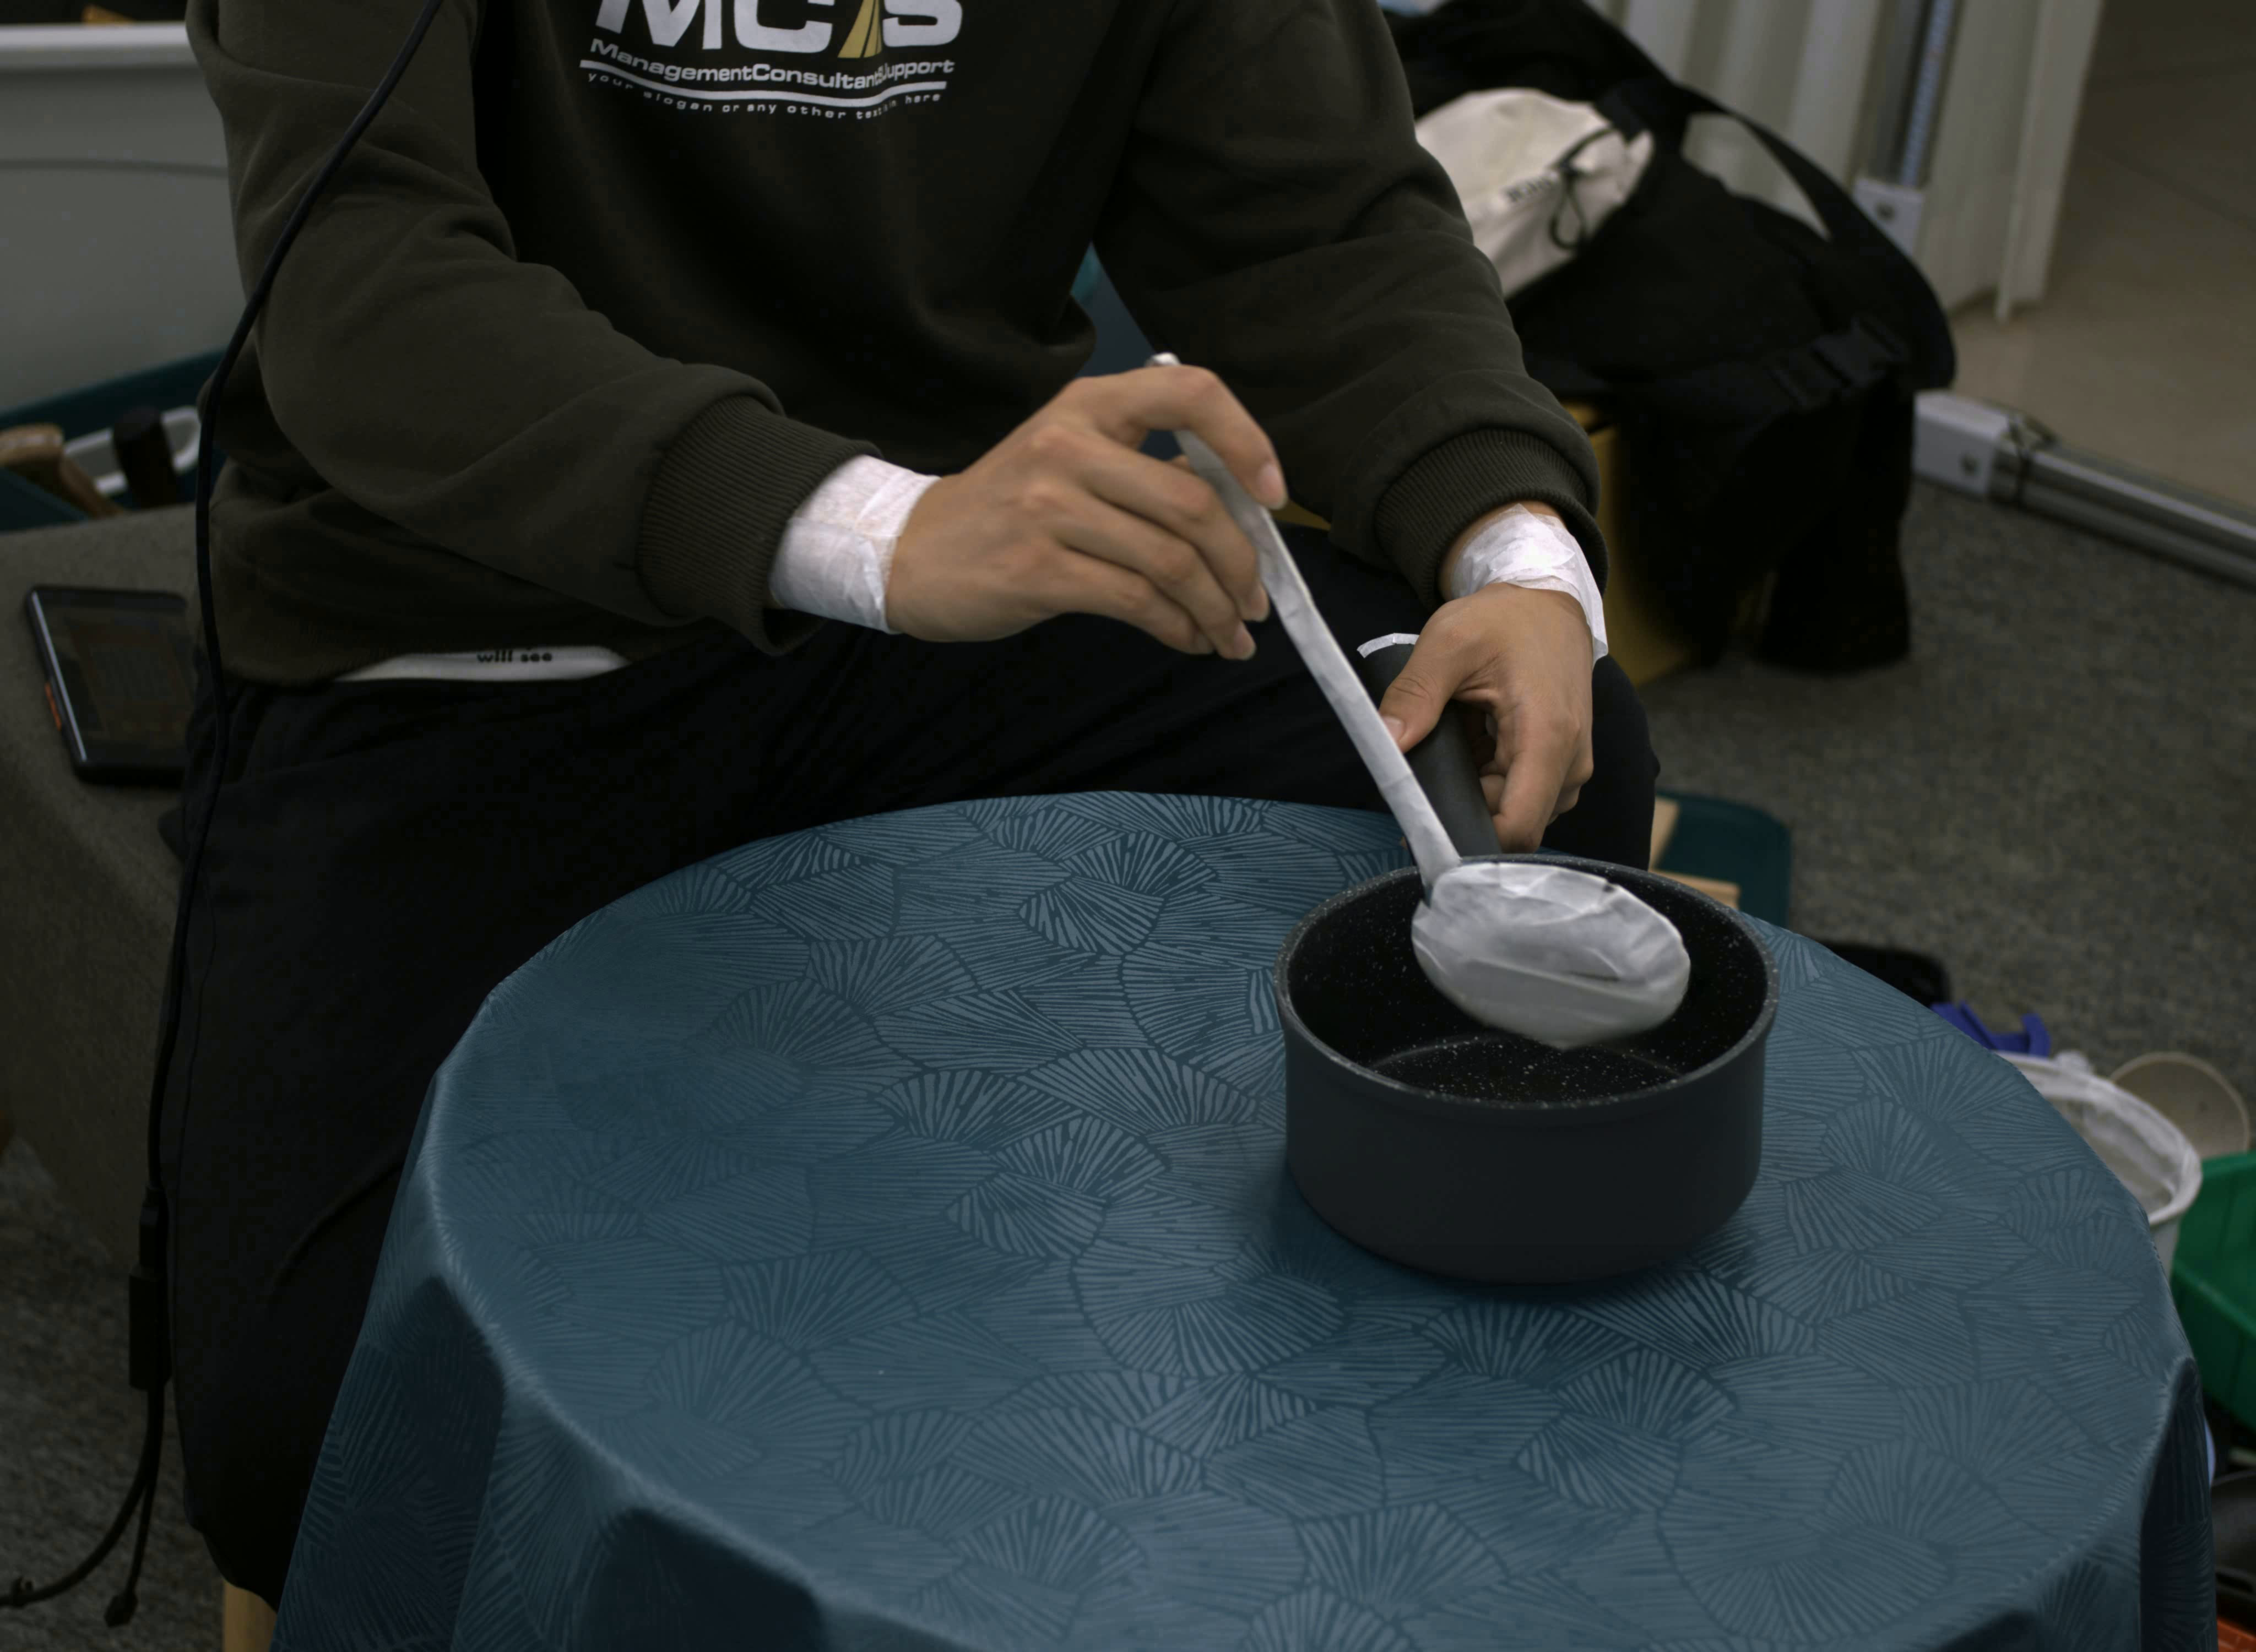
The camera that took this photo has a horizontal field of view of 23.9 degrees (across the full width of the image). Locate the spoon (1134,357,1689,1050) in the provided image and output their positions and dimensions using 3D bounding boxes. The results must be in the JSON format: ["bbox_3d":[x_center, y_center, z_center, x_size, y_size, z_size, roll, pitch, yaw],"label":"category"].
[{"bbox_3d":[0.087,-0.041,1.779,0.059,0.101,0.278,-24,81,-51],"label":"spoon"}]

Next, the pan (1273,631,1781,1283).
[{"bbox_3d":[0.128,0.043,1.882,0.171,0.086,0.331,-3,29,-4],"label":"pan"}]
